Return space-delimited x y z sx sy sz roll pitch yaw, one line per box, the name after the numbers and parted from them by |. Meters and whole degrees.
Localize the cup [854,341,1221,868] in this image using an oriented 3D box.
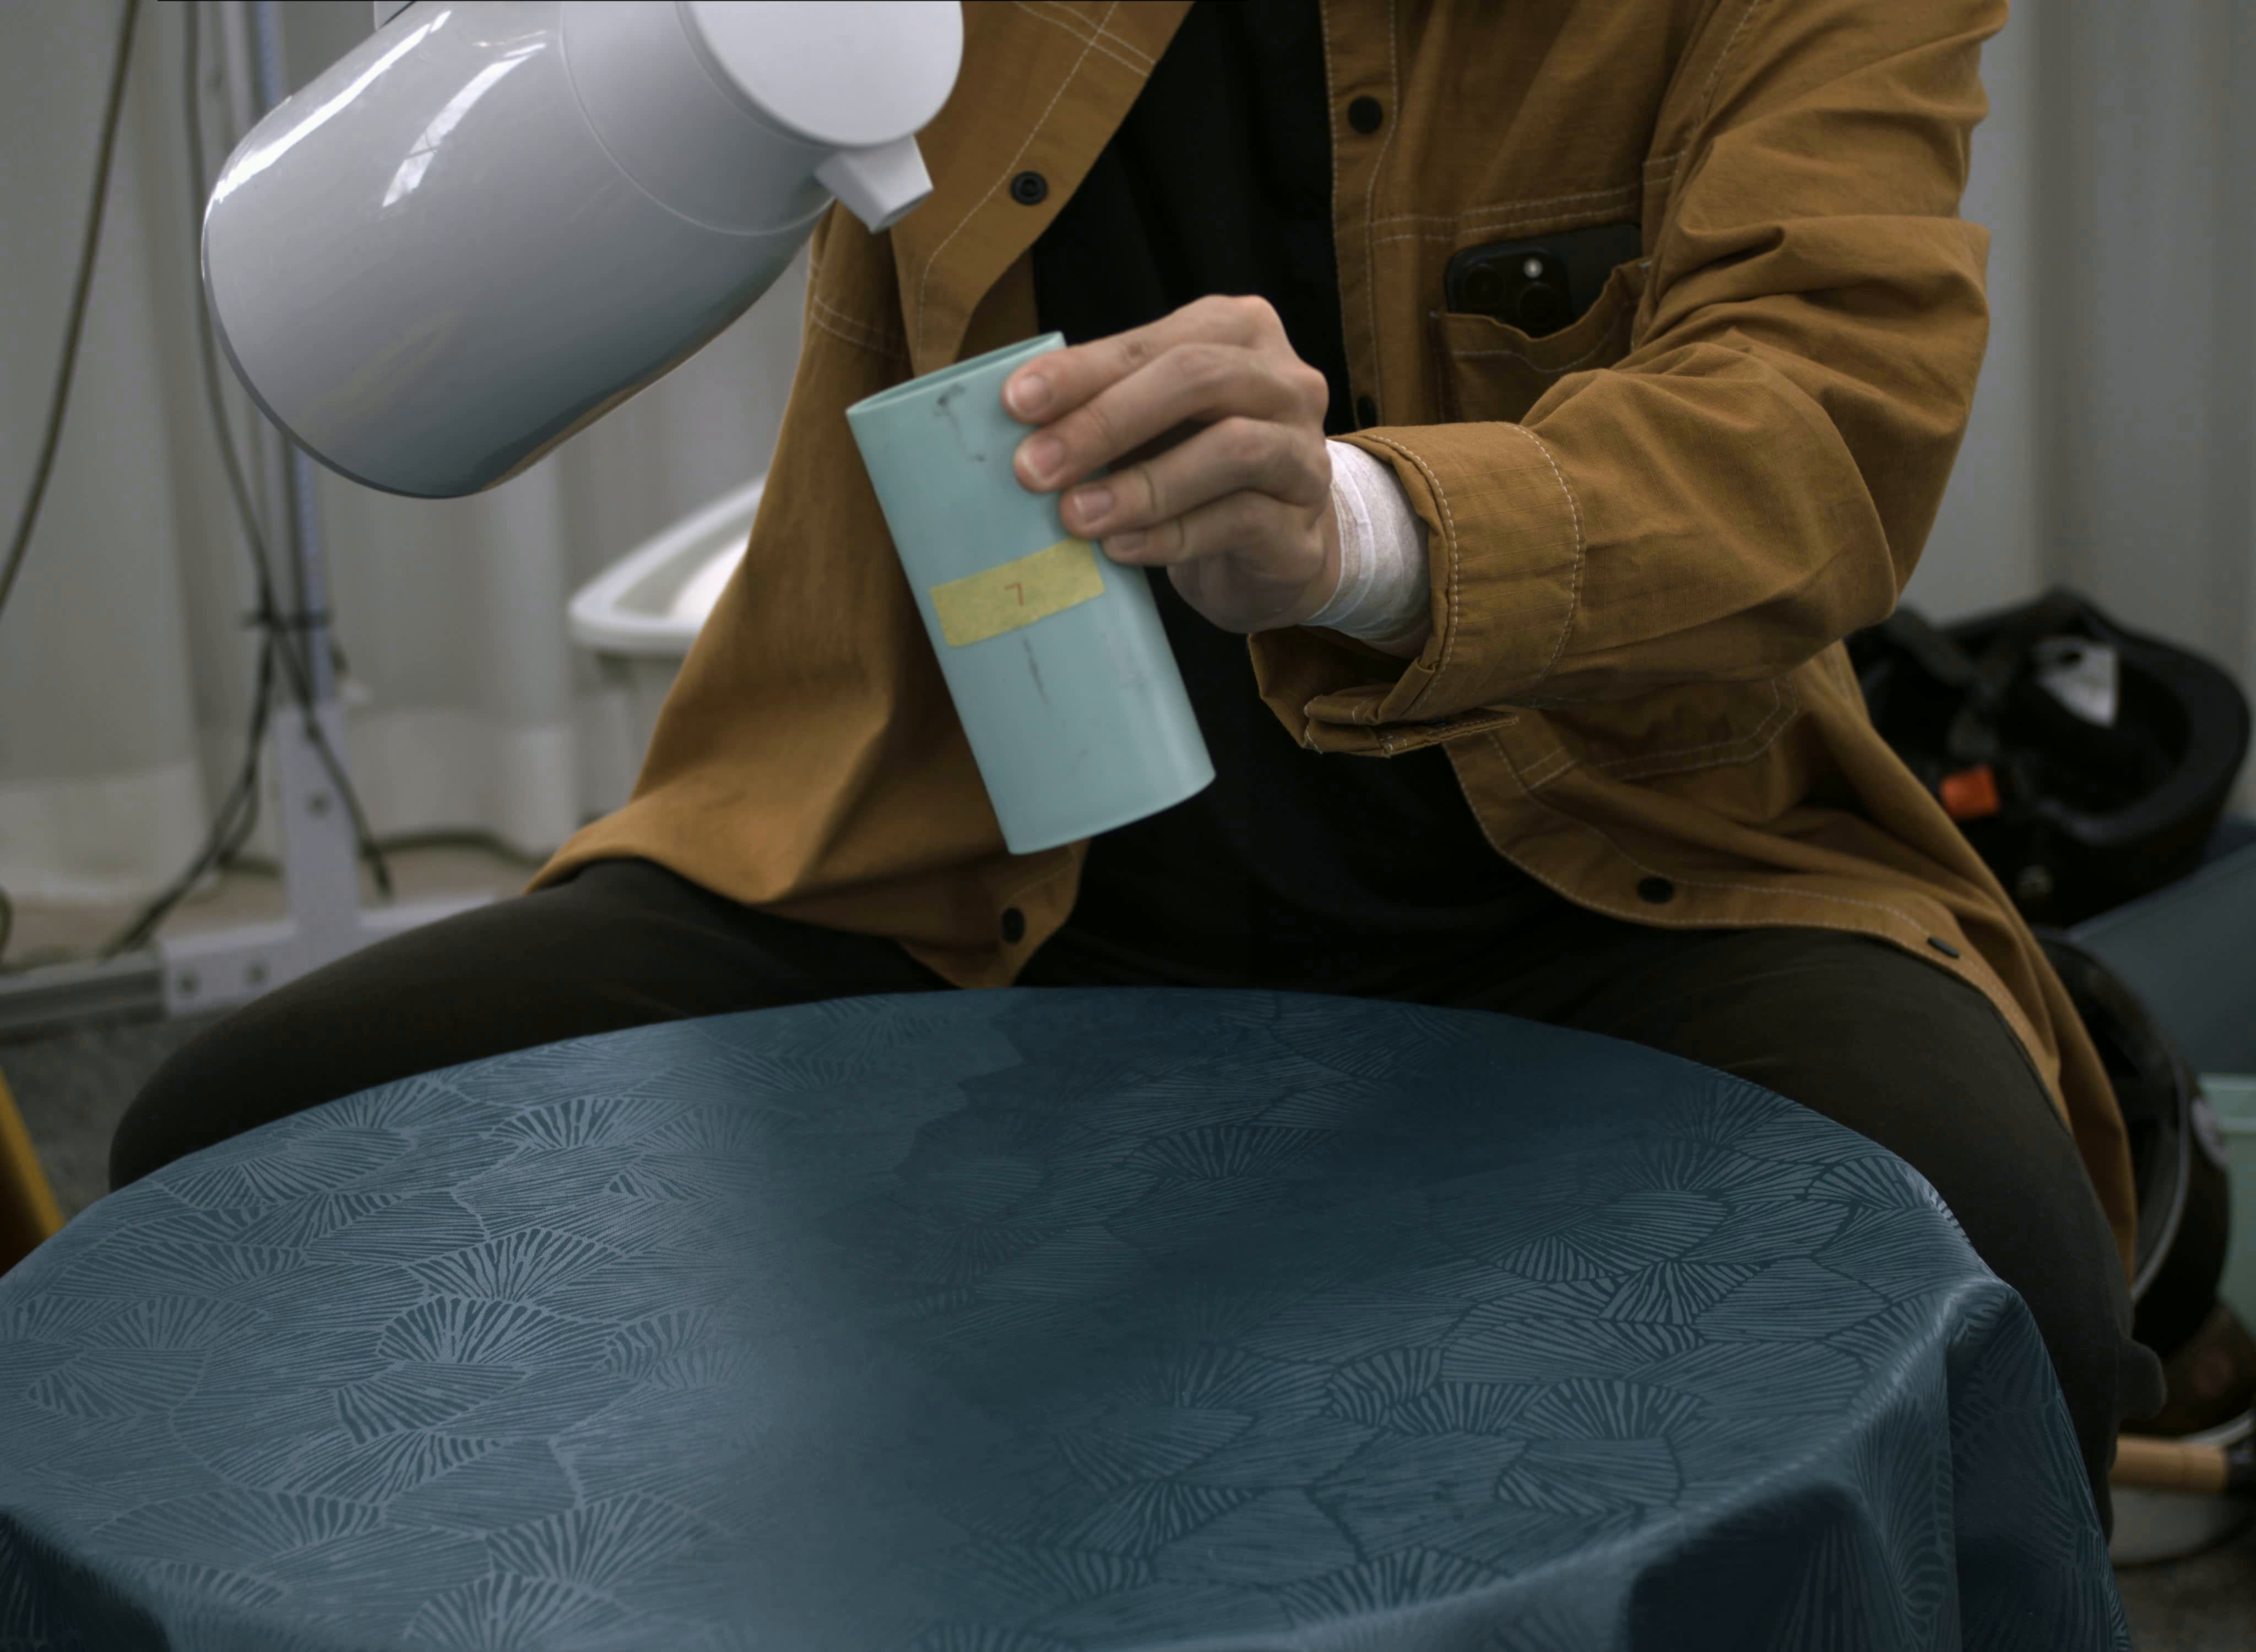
-0.024 -0.062 1.511 0.066 0.132 0.067 -19 7 2 | cup

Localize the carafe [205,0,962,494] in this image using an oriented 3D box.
-0.161 -0.211 1.572 0.133 0.167 0.248 -36 6 -39 | carafe
